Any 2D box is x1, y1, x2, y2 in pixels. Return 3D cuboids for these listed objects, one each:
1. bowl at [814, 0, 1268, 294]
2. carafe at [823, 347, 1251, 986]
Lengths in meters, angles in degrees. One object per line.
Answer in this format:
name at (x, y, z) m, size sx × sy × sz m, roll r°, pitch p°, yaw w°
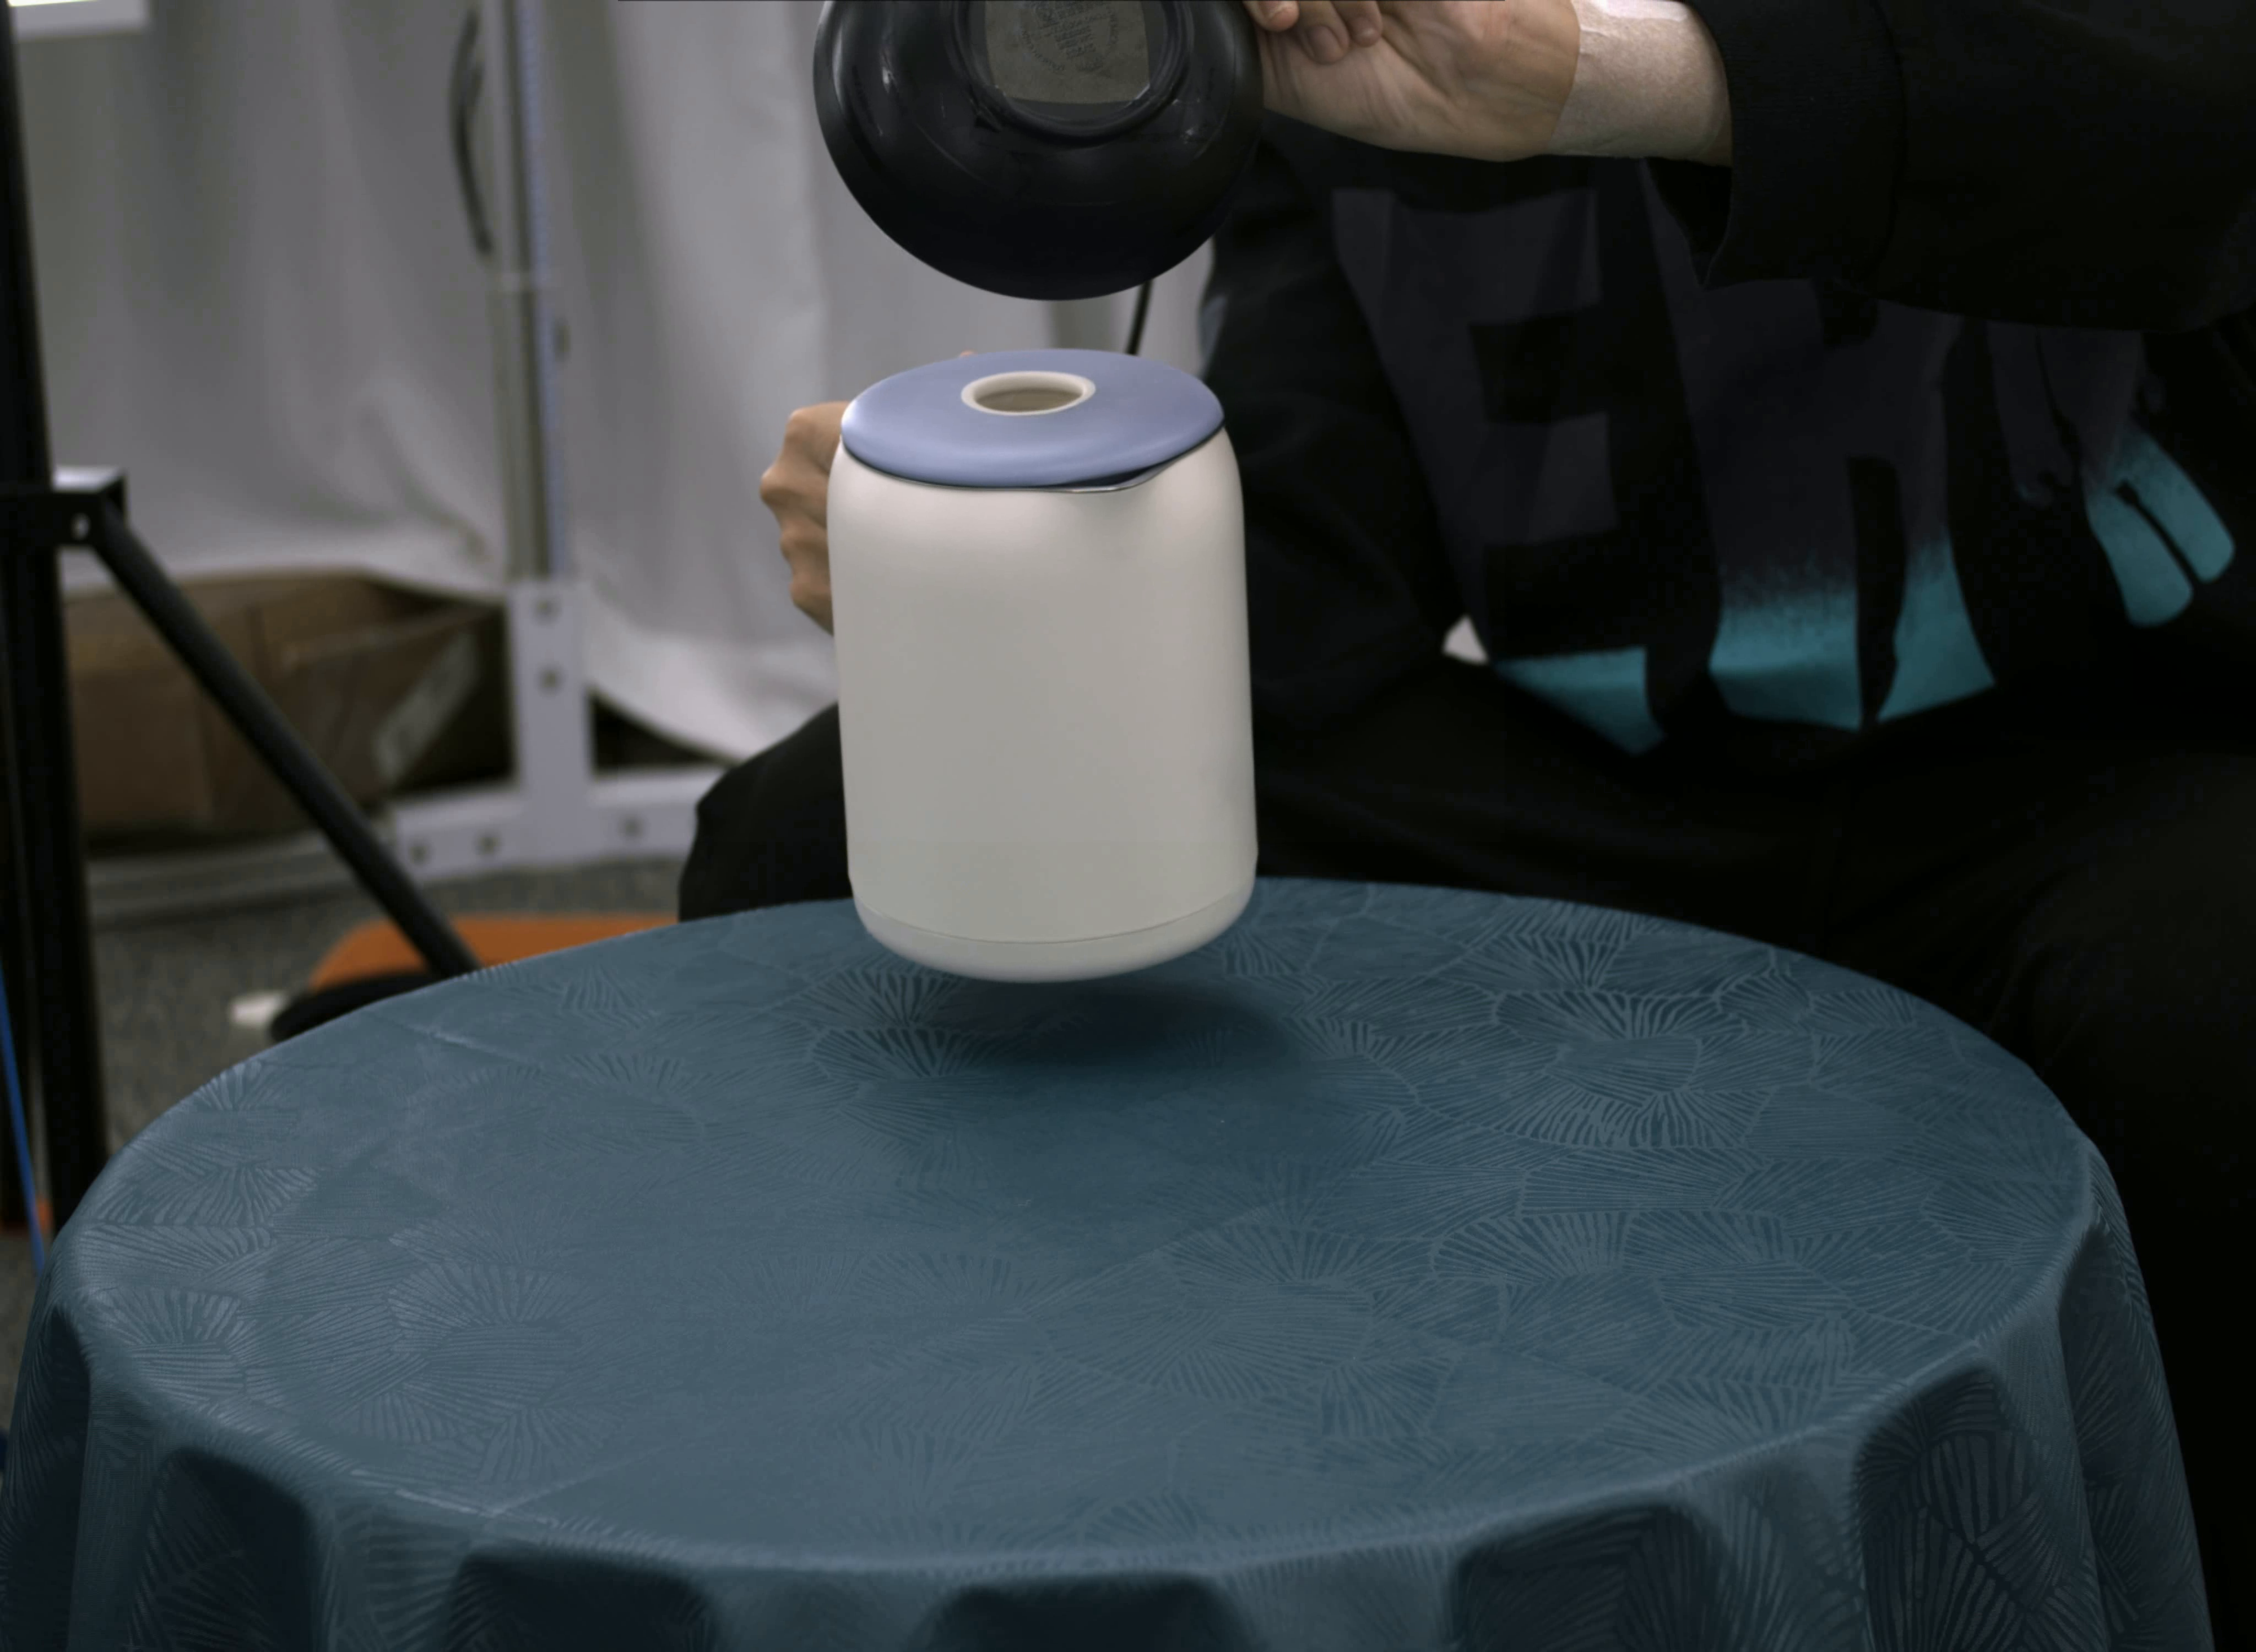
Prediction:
bowl at (-0.022, -0.231, 1.585) m, size 0.138 × 0.141 × 0.050 m, roll -6°, pitch -17°, yaw -10°
carafe at (-0.039, -0.058, 1.705) m, size 0.129 × 0.182 × 0.195 m, roll -11°, pitch 21°, yaw -23°
